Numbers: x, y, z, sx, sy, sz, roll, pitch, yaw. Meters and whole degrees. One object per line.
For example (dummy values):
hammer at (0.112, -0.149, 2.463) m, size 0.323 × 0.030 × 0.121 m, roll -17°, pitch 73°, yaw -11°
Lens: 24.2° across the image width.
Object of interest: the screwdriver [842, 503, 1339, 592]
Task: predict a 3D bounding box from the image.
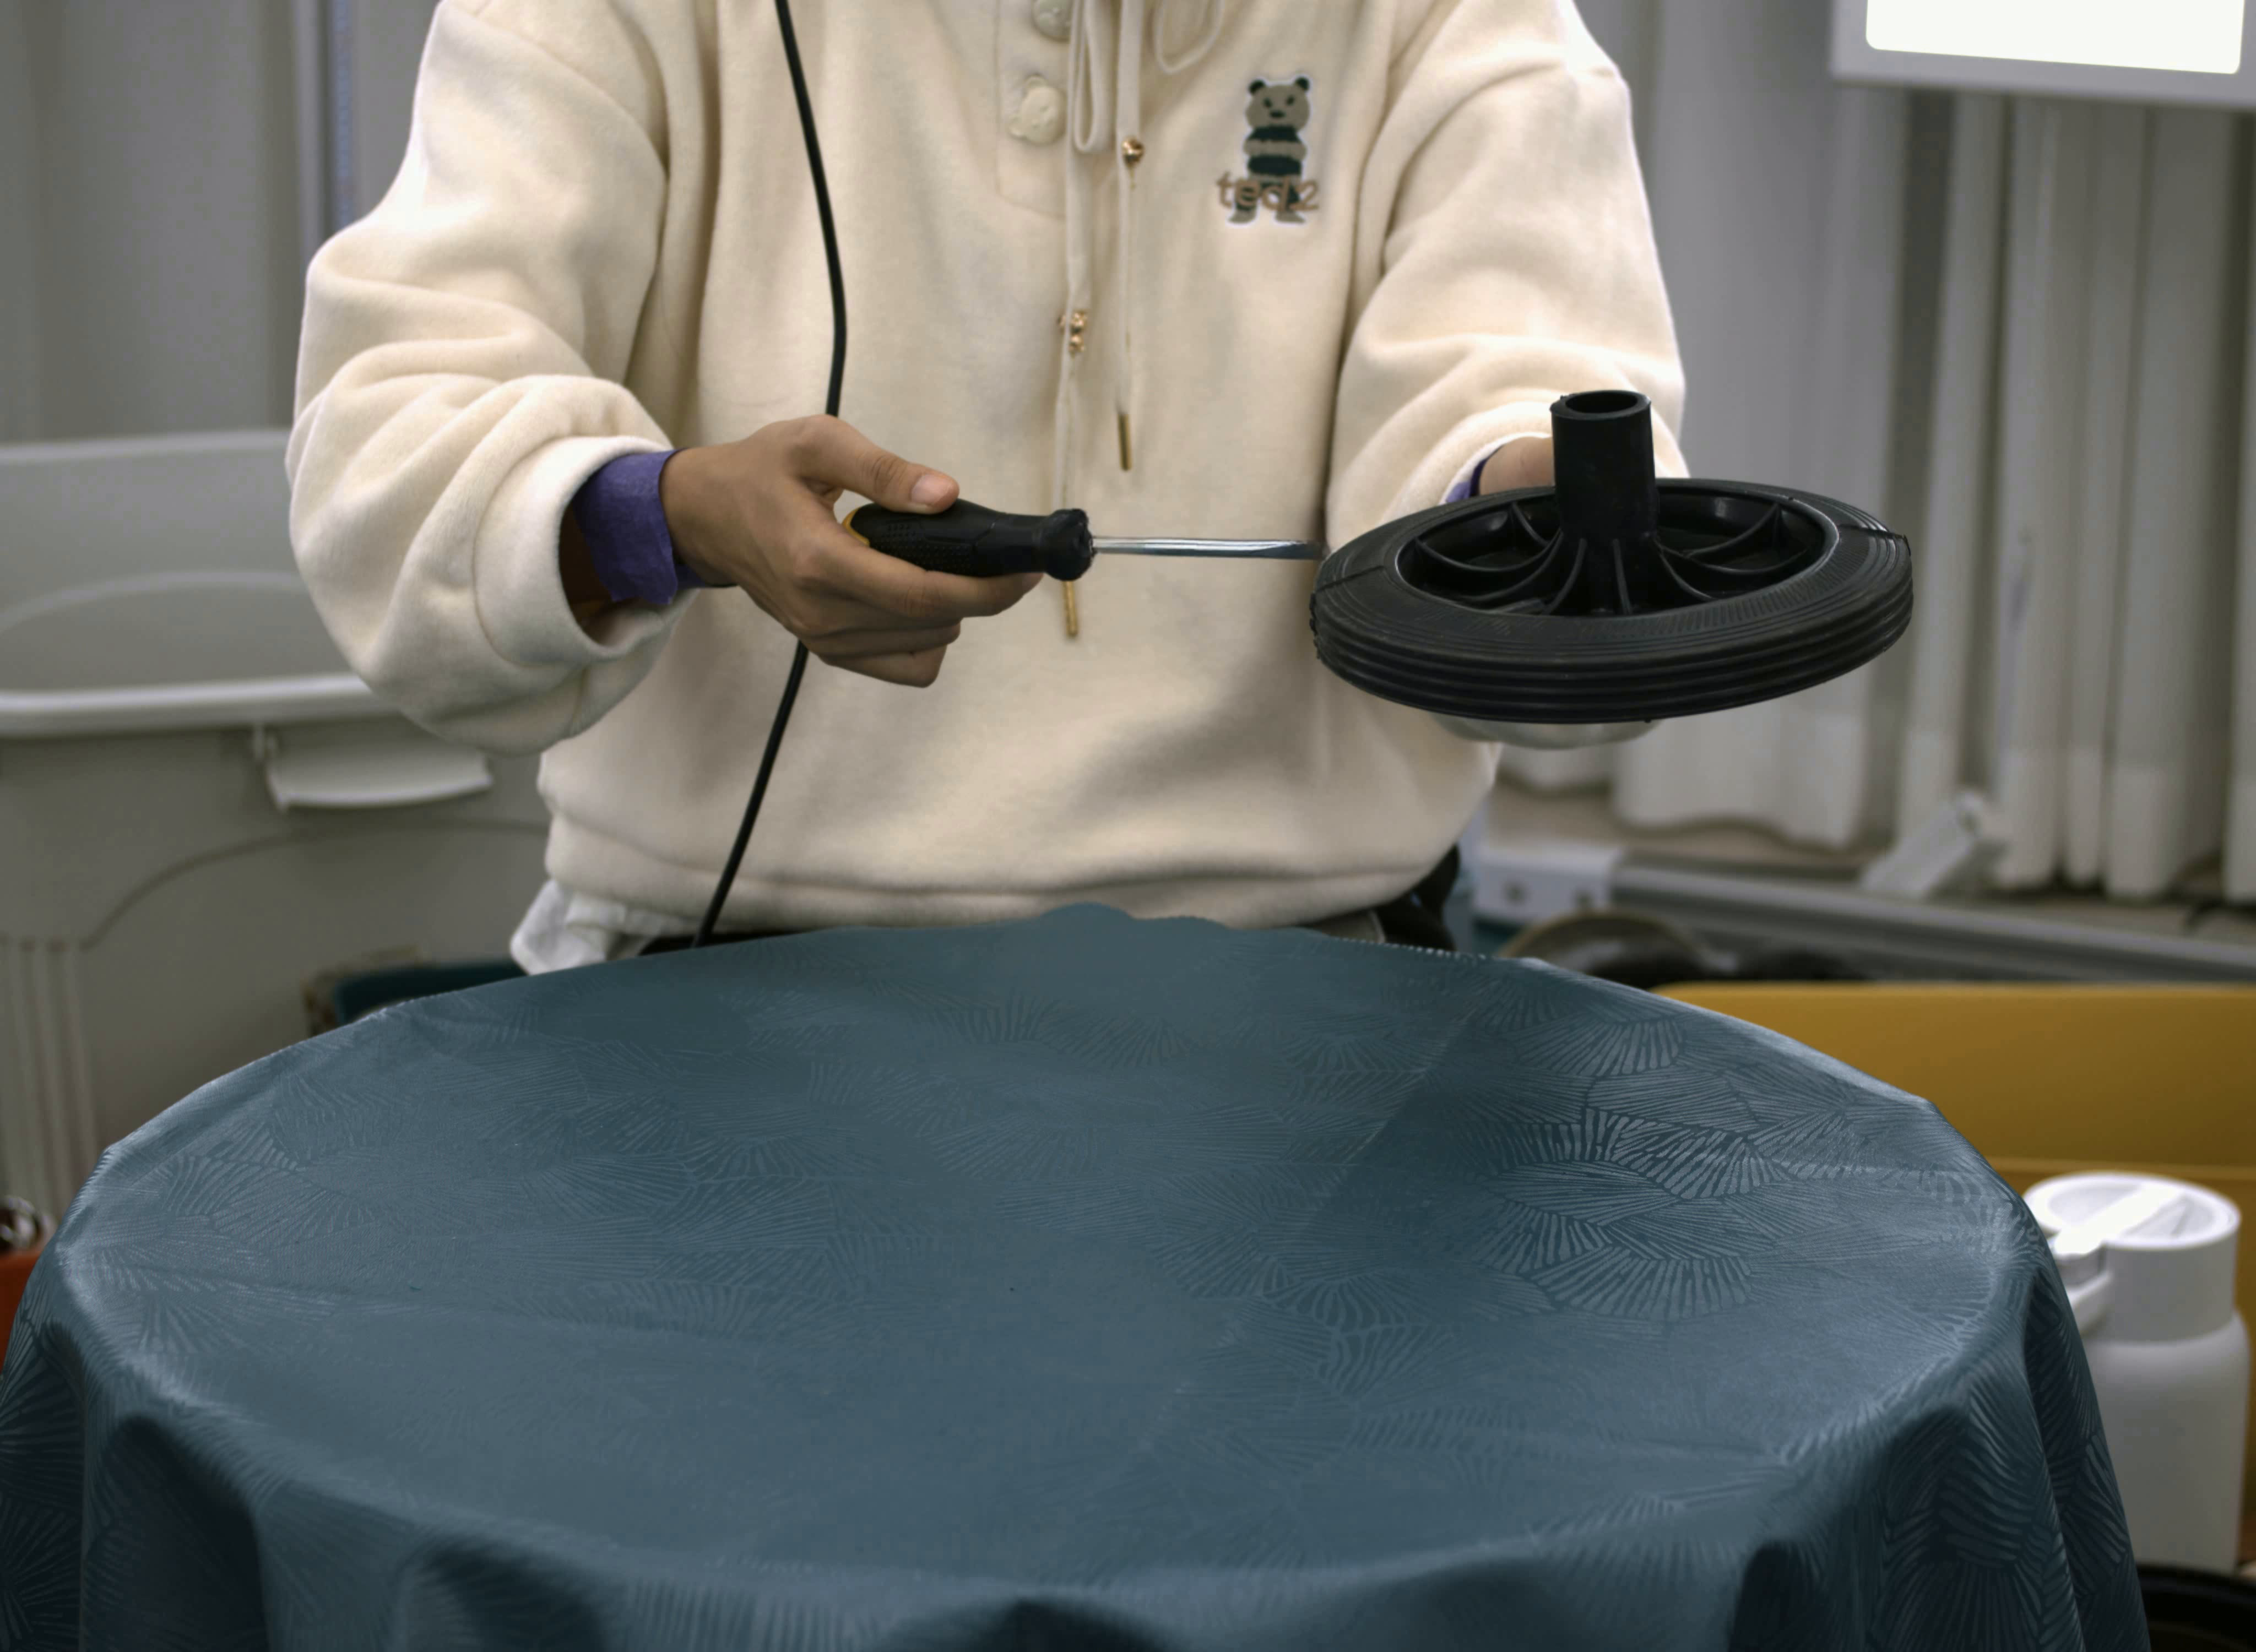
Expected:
screwdriver at (-0.012, -0.088, 1.719) m, size 0.195 × 0.032 × 0.031 m, roll 5°, pitch 16°, yaw 34°

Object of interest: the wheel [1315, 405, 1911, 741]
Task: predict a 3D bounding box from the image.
wheel at (0.149, -0.089, 1.641) m, size 0.185 × 0.080 × 0.190 m, roll 9°, pitch 26°, yaw 32°
